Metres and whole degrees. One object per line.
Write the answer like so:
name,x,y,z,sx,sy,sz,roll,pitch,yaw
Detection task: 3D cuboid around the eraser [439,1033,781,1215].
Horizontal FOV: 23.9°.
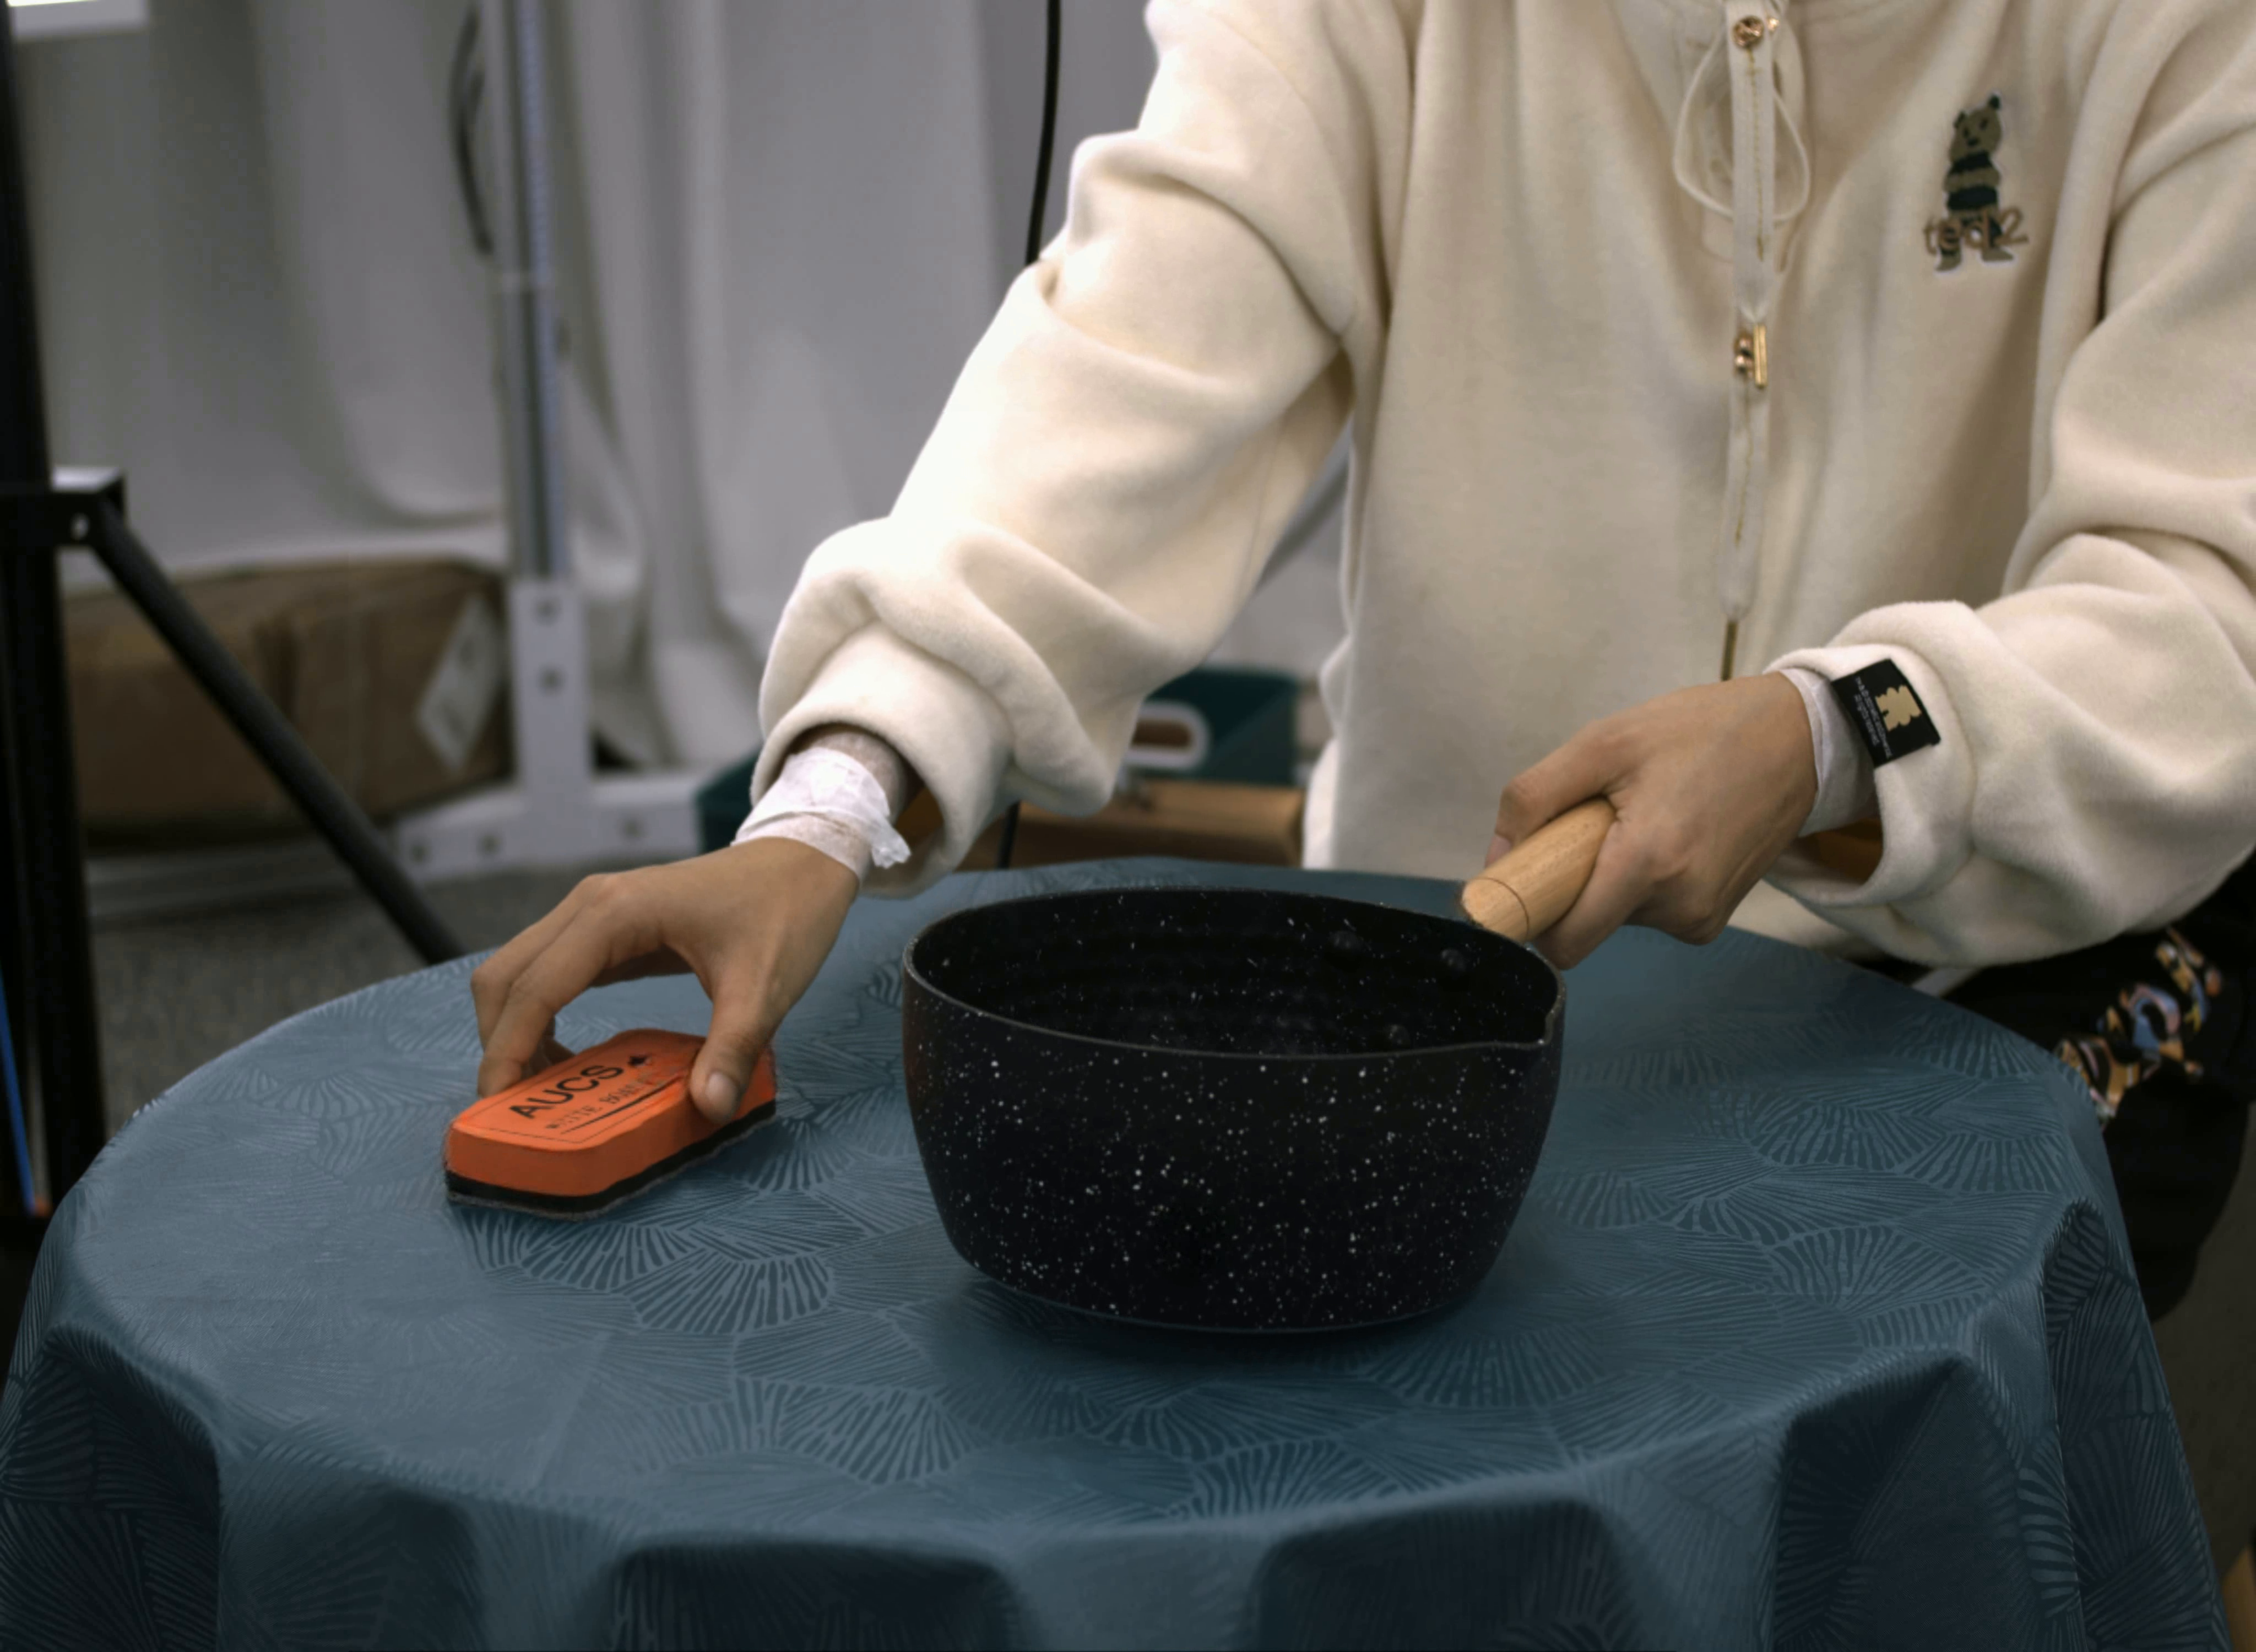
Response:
eraser,-0.155,0.089,1.608,0.060,0.023,0.106,6,17,32

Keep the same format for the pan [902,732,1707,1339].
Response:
pan,0.073,0.055,1.534,0.211,0.108,0.335,10,17,33
